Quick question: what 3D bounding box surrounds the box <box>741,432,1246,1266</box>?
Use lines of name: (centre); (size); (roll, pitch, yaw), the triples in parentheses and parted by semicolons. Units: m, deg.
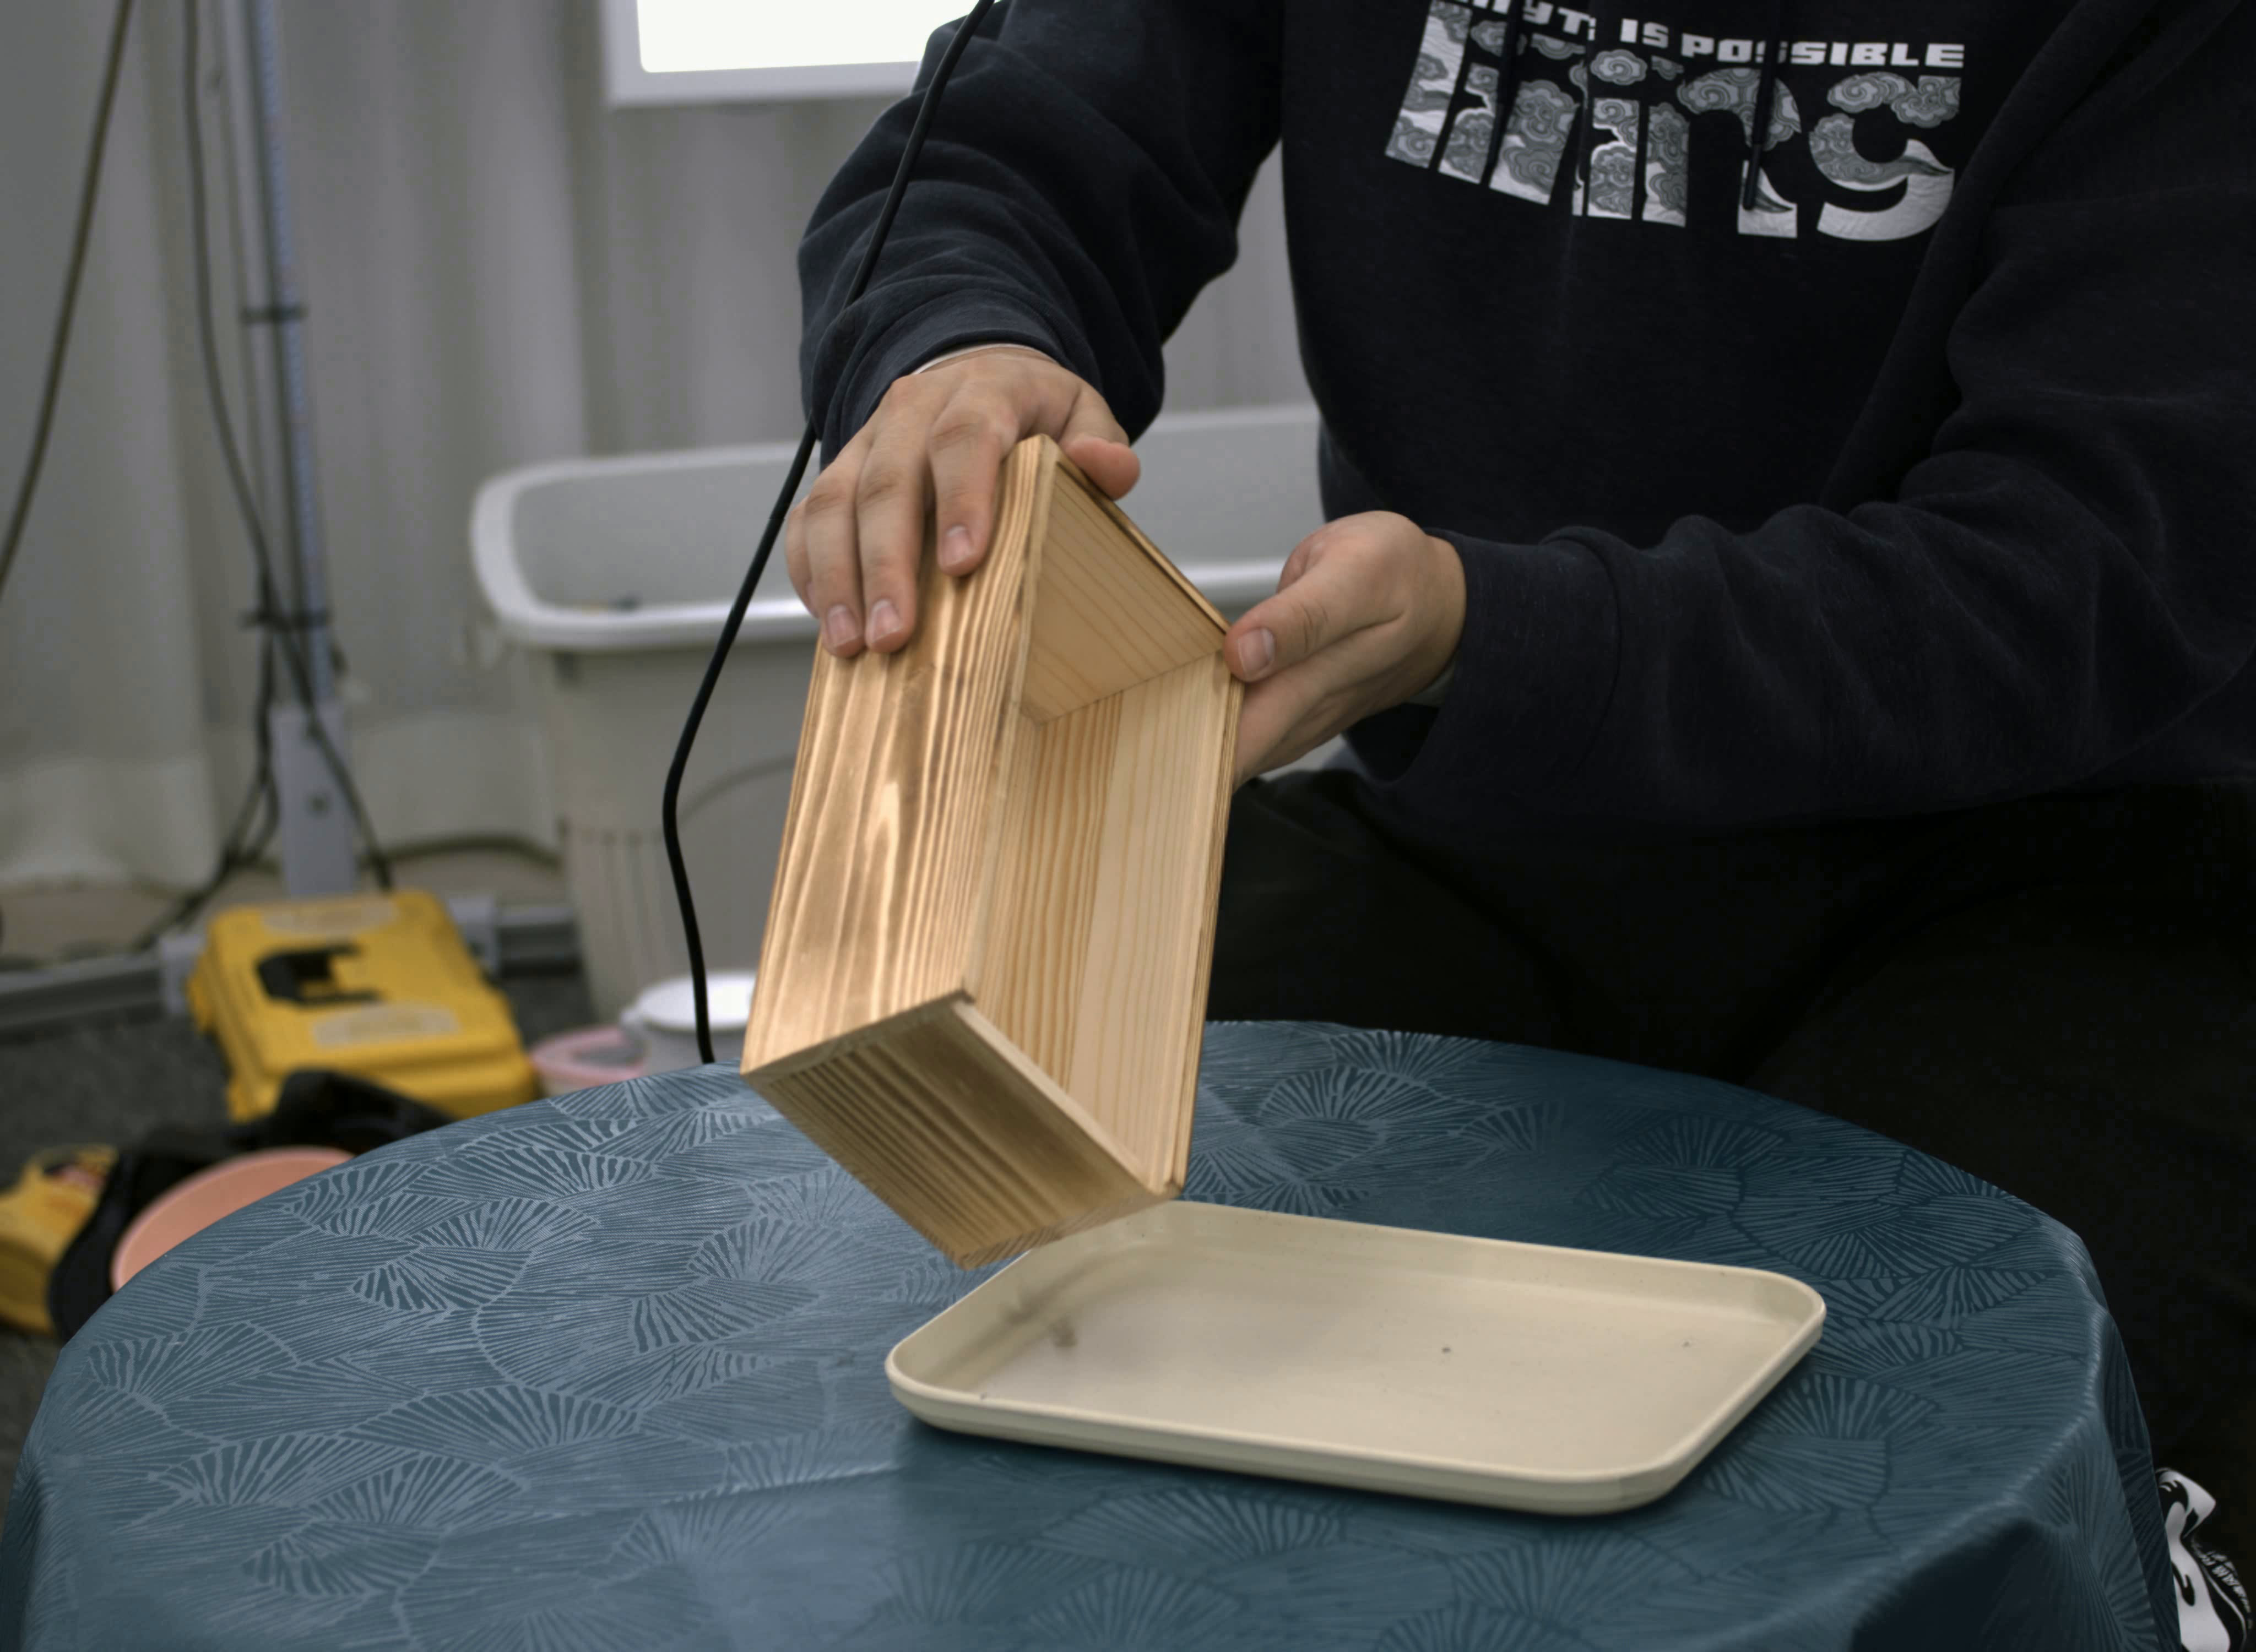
box: (-0.035, 0.005, 1.589); (0.080, 0.106, 0.214); (-23, 41, 30)

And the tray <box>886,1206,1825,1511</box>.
tray: (0.065, 0.149, 1.542); (0.240, 0.017, 0.171); (4, 16, 26)
